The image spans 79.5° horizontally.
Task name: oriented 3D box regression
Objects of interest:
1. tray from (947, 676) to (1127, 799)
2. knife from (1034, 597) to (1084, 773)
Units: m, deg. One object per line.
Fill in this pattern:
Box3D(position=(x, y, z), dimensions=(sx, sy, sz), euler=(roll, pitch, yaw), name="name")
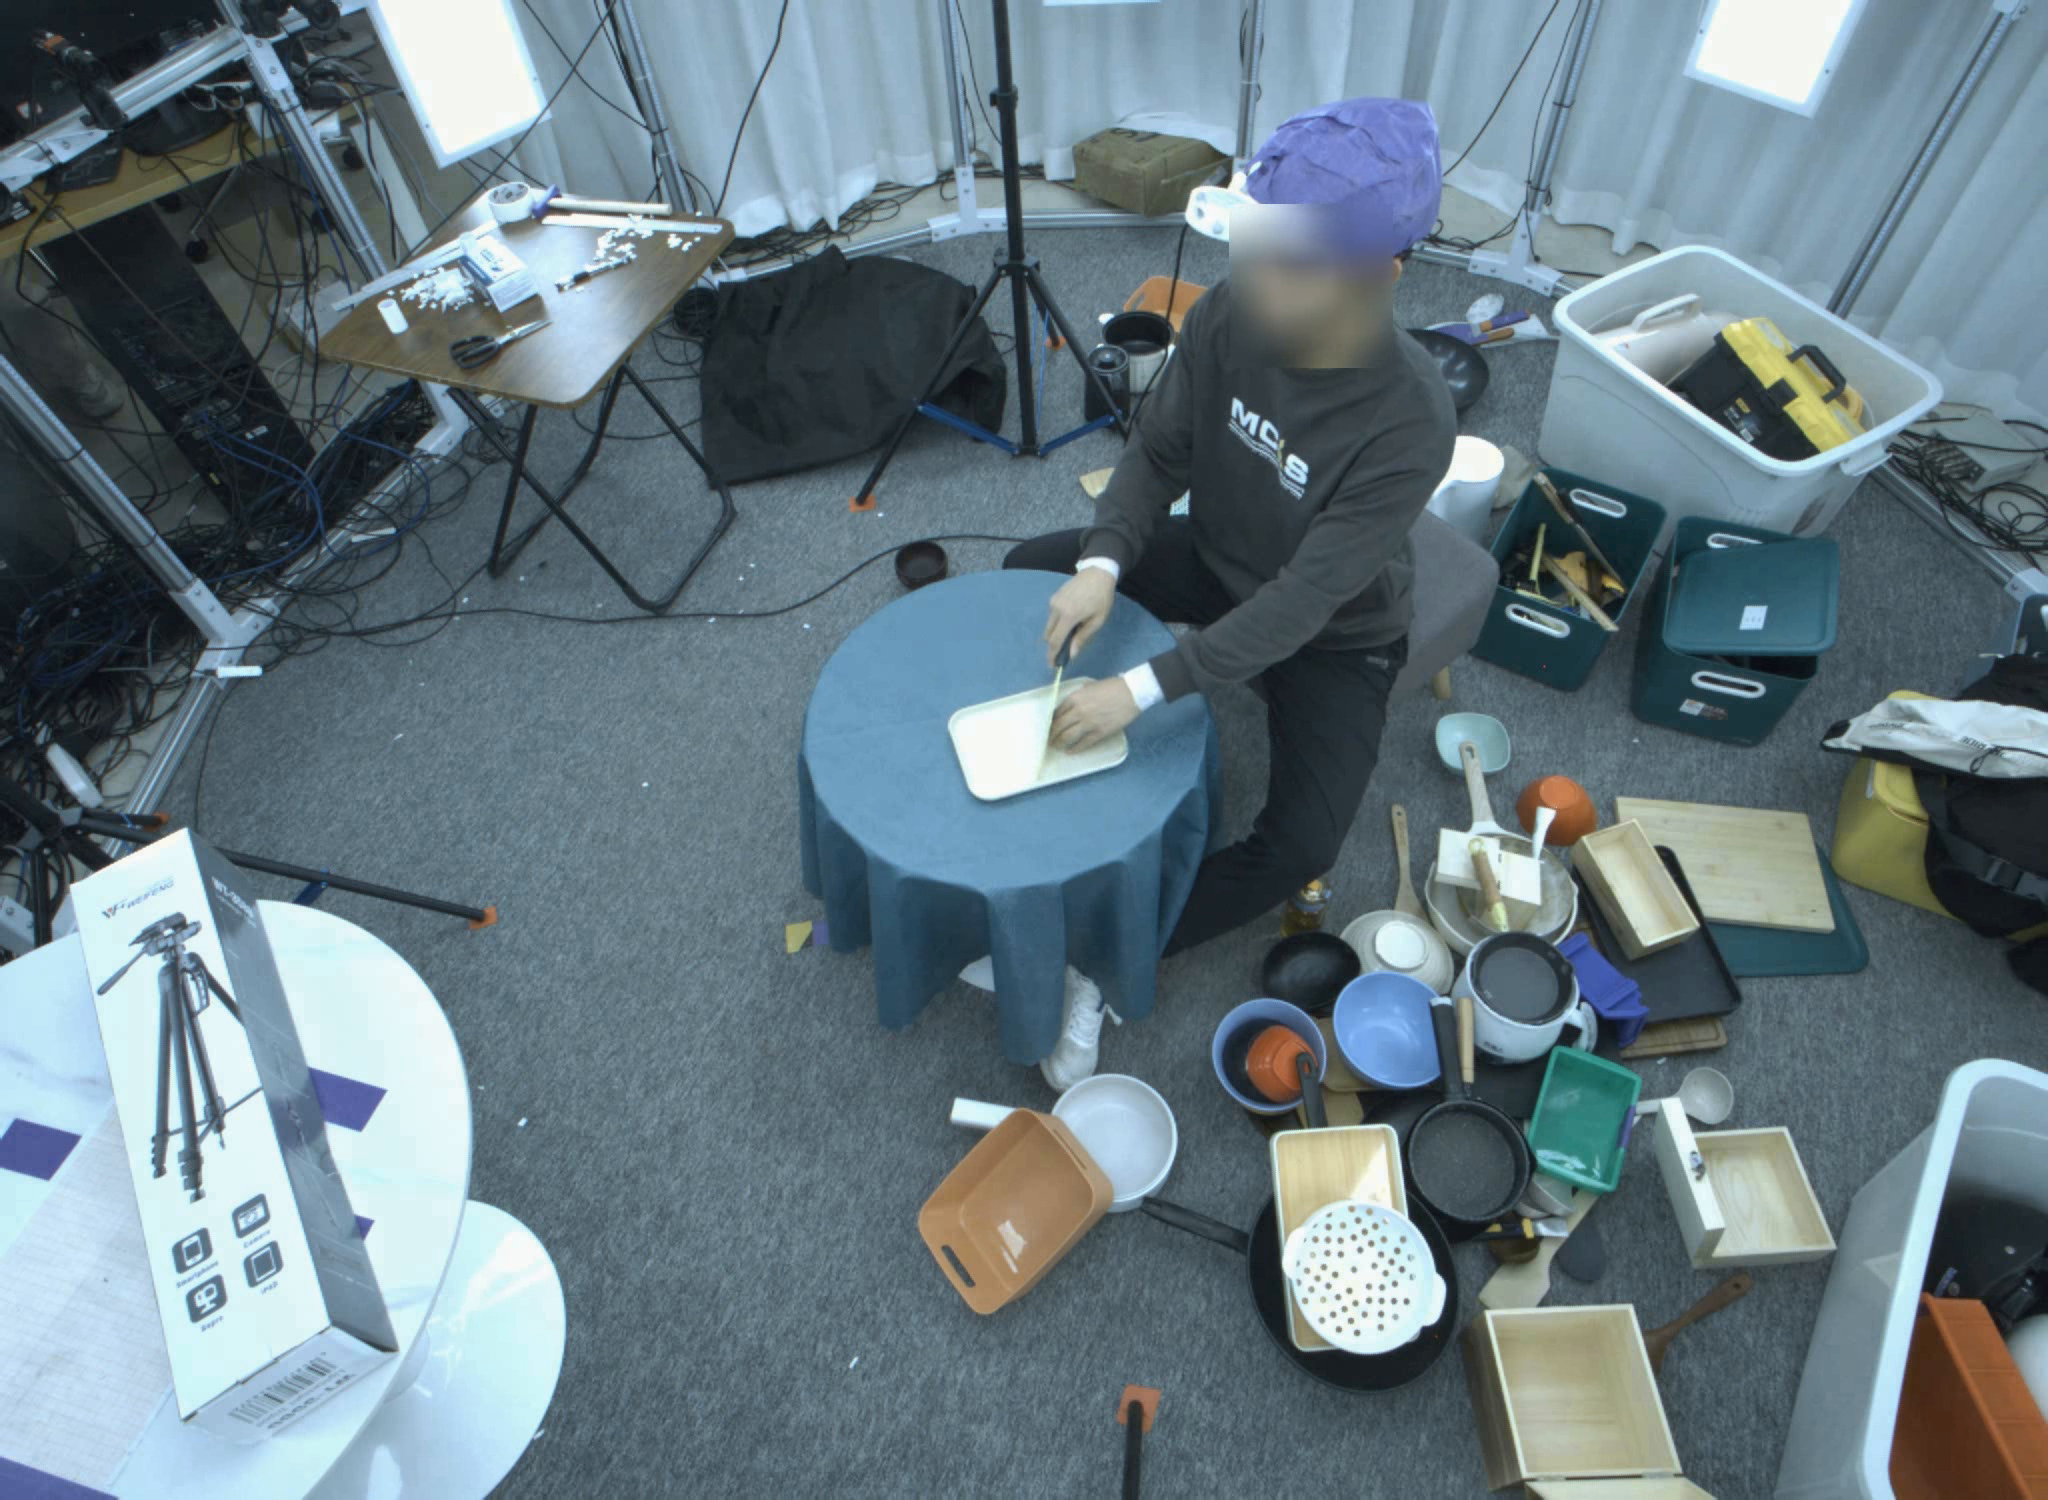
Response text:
Box3D(position=(0.019, -0.018, 1.797), dimensions=(0.241, 0.017, 0.168), euler=(-16, 55, -10), name="tray")
Box3D(position=(0.047, -0.096, 1.792), dimensions=(0.027, 0.081, 0.288), euler=(16, 65, -4), name="knife")
